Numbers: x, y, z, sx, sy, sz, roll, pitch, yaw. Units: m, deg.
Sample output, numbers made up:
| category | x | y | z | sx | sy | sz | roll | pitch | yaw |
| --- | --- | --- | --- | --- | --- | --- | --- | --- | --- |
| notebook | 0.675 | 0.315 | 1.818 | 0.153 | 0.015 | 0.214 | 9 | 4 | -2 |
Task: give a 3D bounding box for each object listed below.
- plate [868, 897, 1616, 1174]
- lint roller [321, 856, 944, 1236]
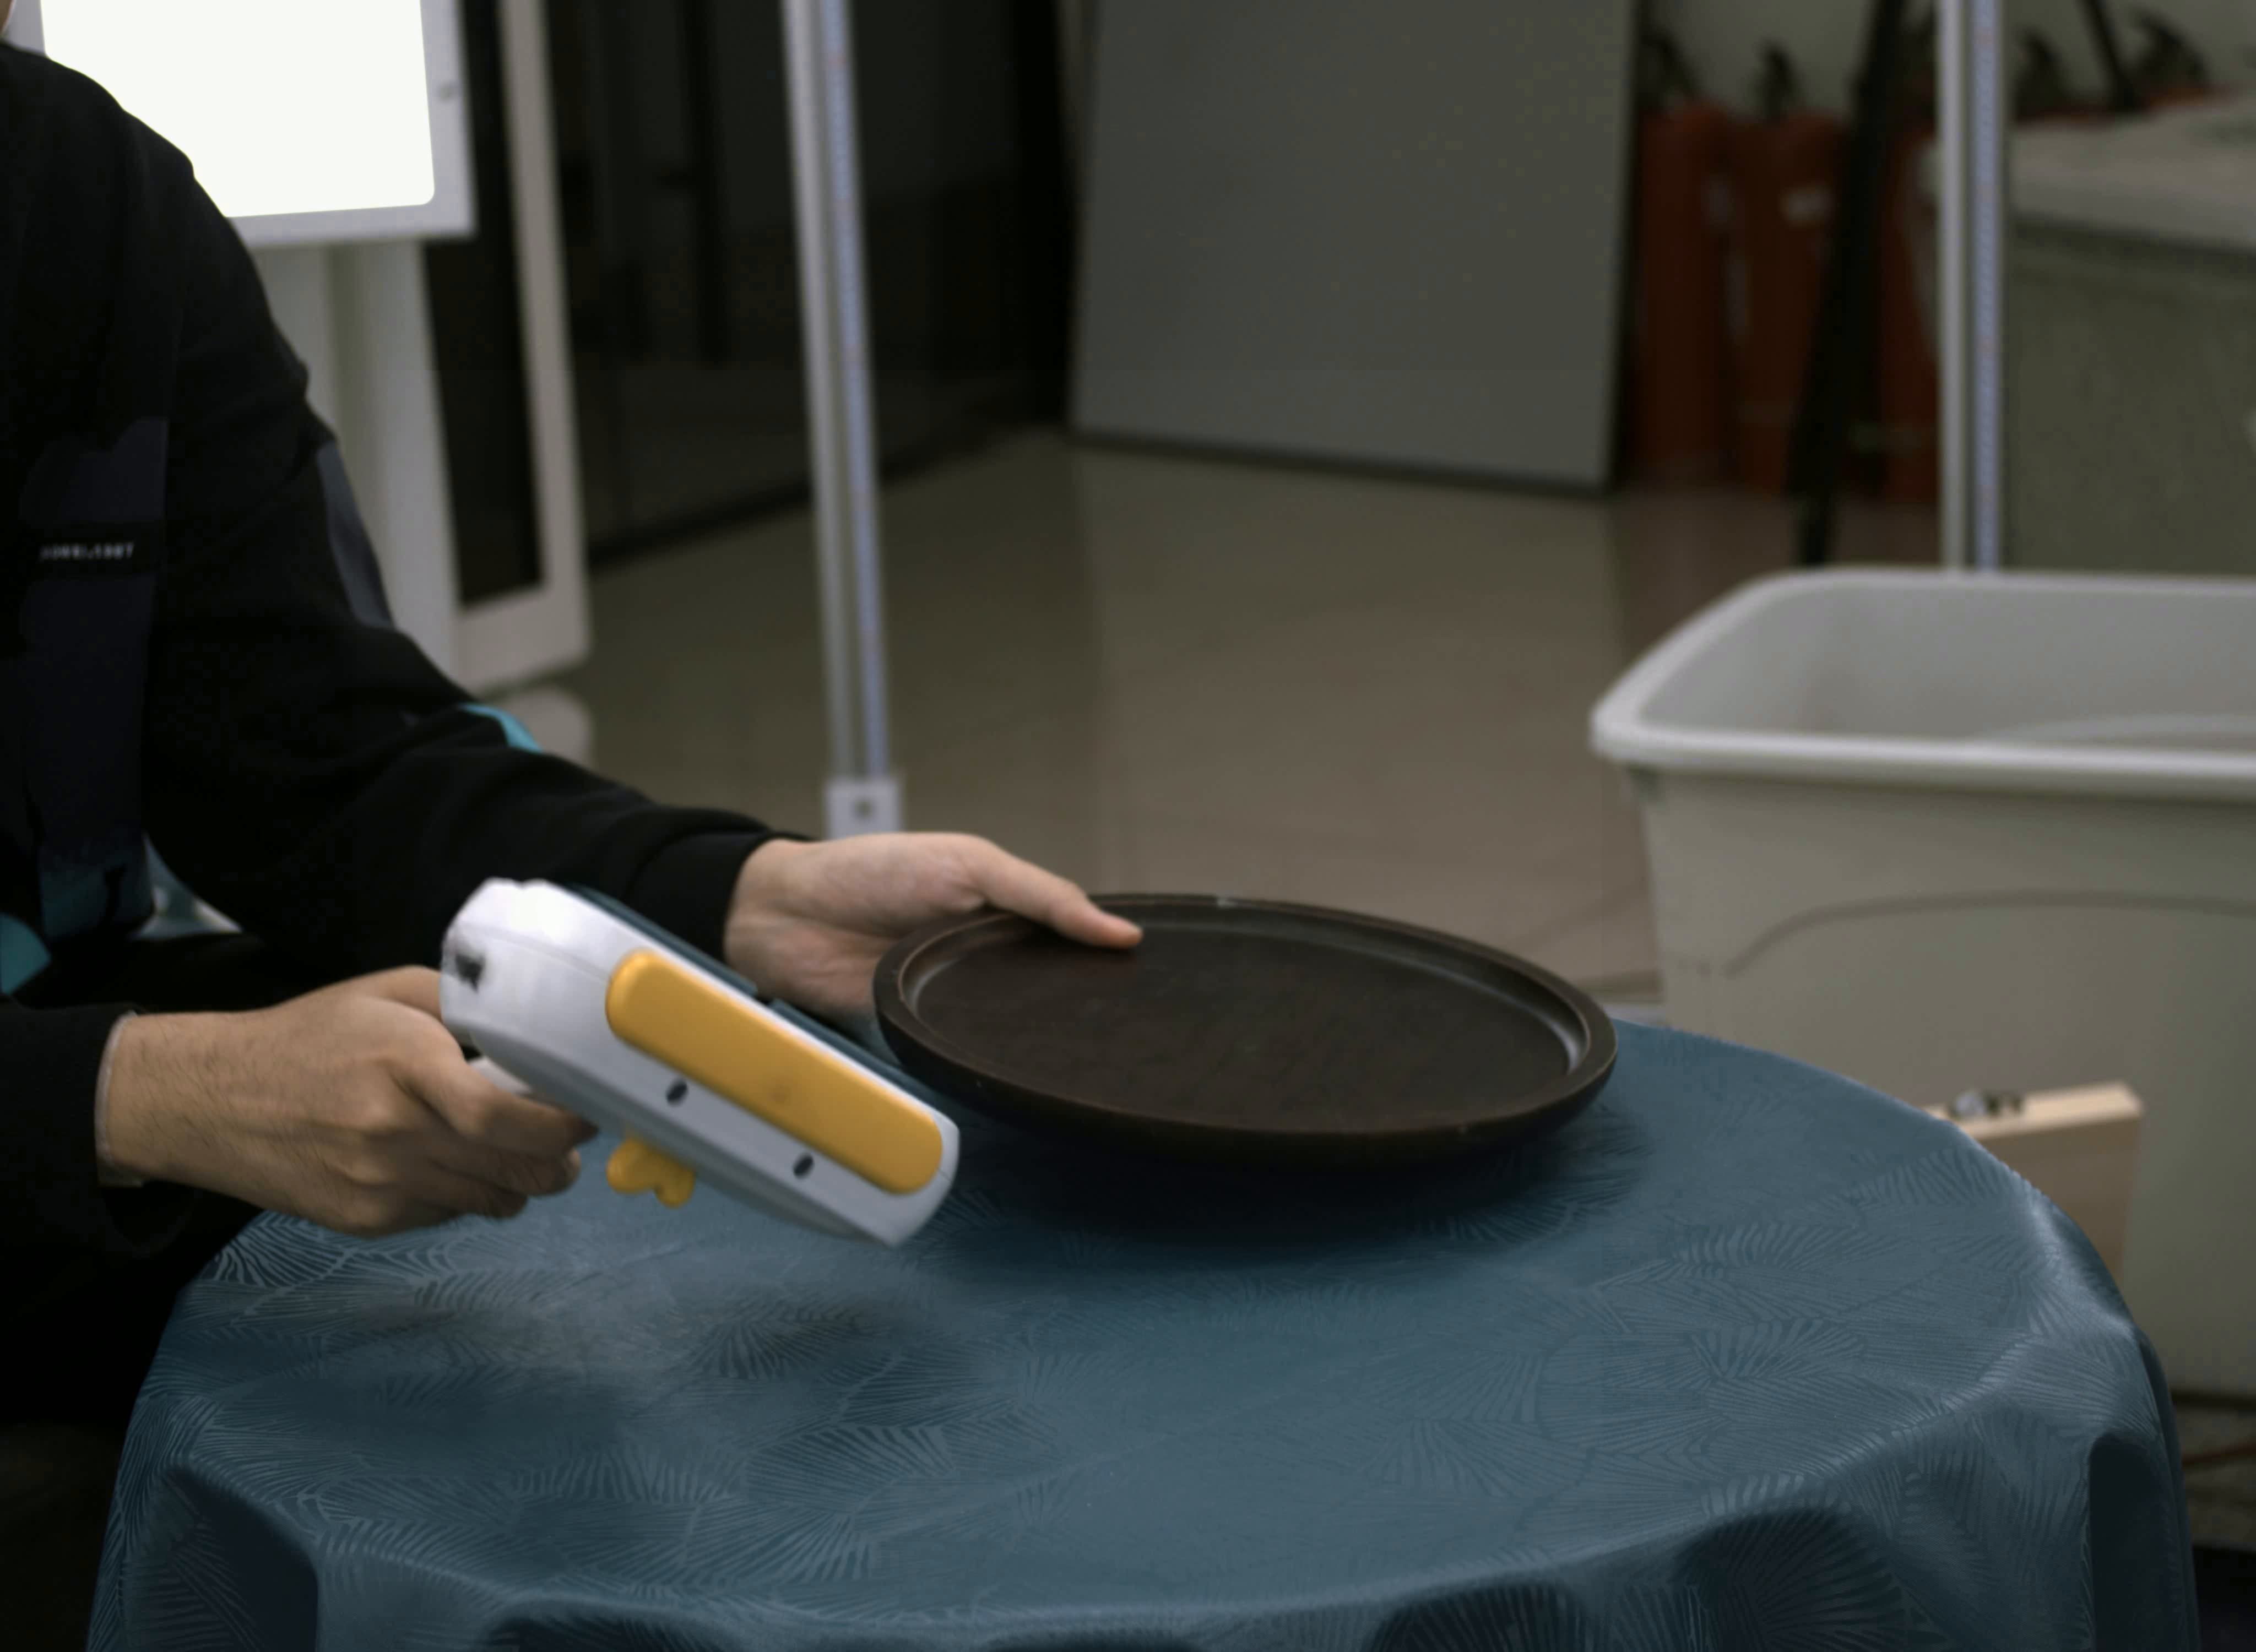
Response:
| category | x | y | z | sx | sy | sz | roll | pitch | yaw |
| --- | --- | --- | --- | --- | --- | --- | --- | --- | --- |
| plate | 0.038 | 0.068 | 1.804 | 0.251 | 0.029 | 0.255 | 2 | 14 | -1 |
| lint roller | -0.175 | 0.077 | 1.651 | 0.189 | 0.075 | 0.194 | 28 | -22 | -39 |
